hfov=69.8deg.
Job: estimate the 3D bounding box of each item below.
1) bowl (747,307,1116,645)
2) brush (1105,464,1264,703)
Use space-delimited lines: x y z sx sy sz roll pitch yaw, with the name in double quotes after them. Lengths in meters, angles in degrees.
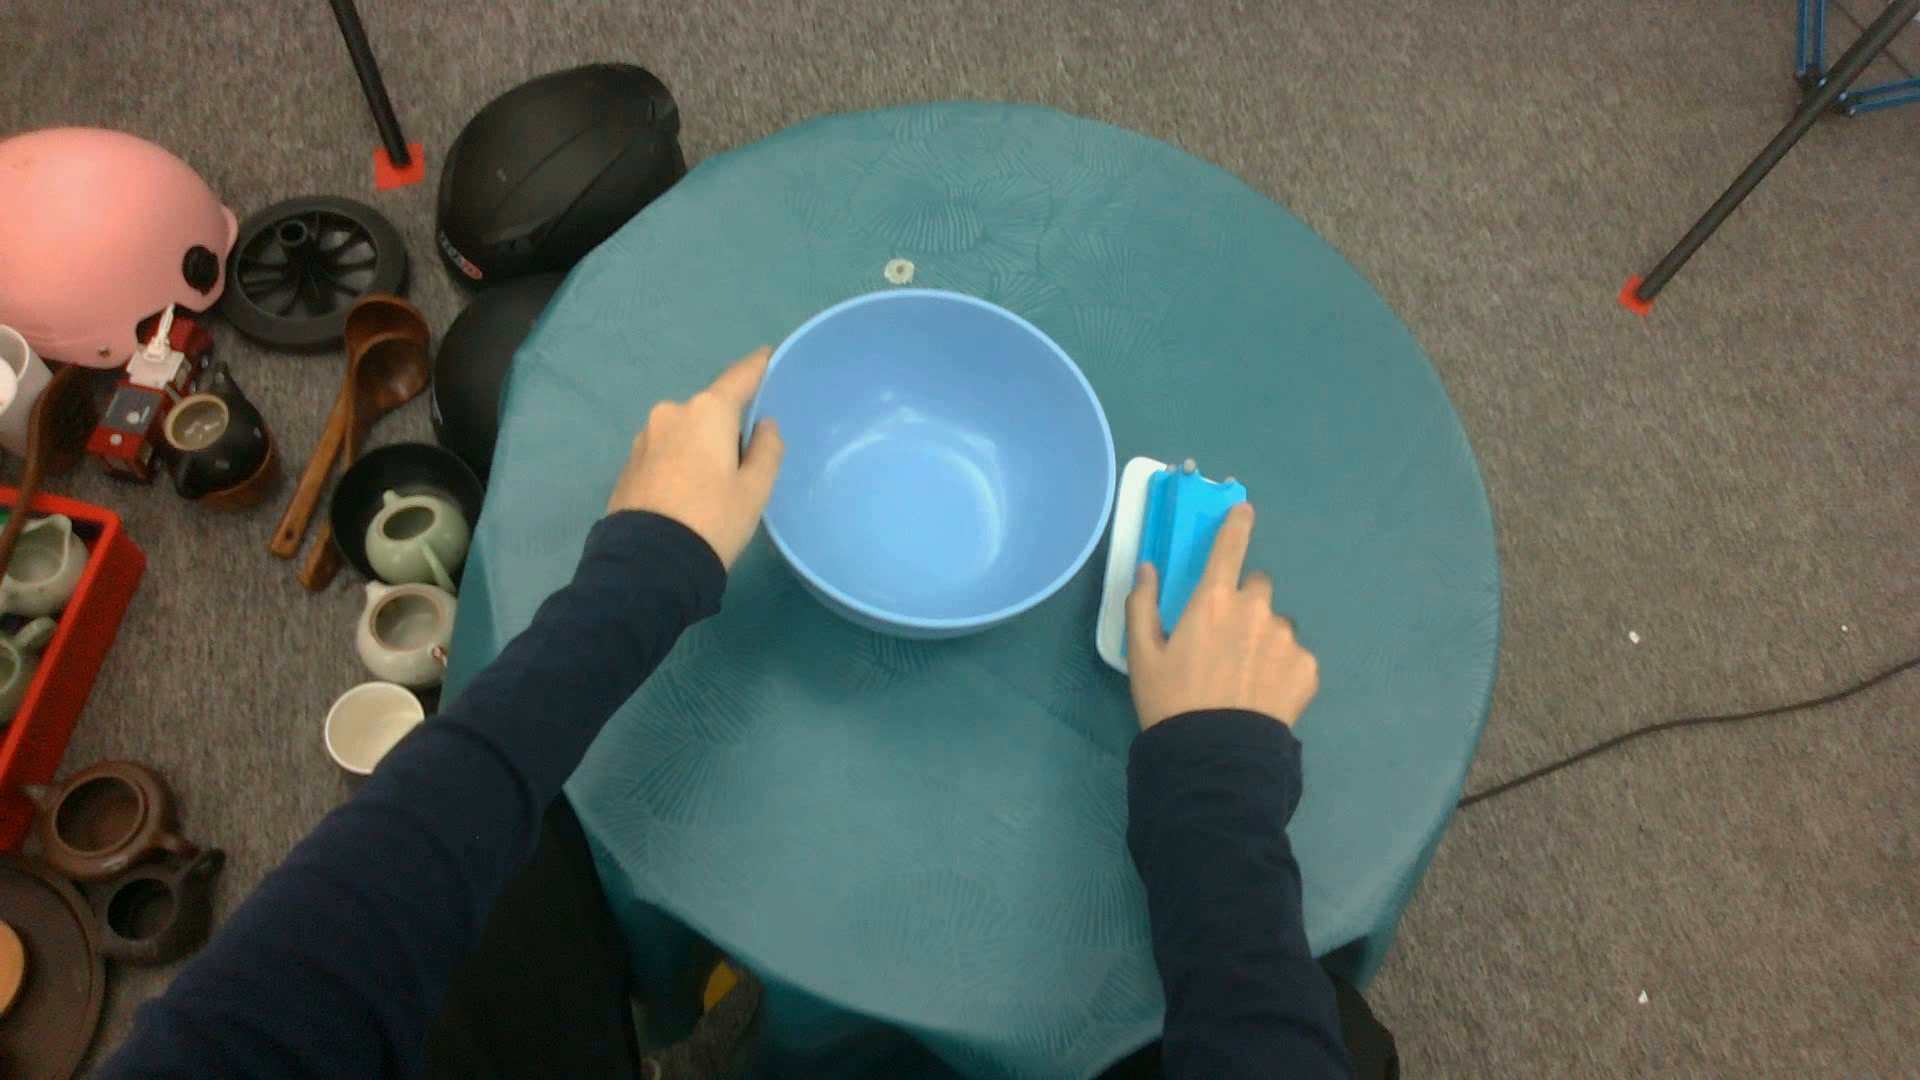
-0.019 -0.022 0.767 0.196 0.095 0.197 4 63 -7 "bowl"
0.135 0.017 0.782 0.084 0.055 0.144 18 58 -6 "brush"
